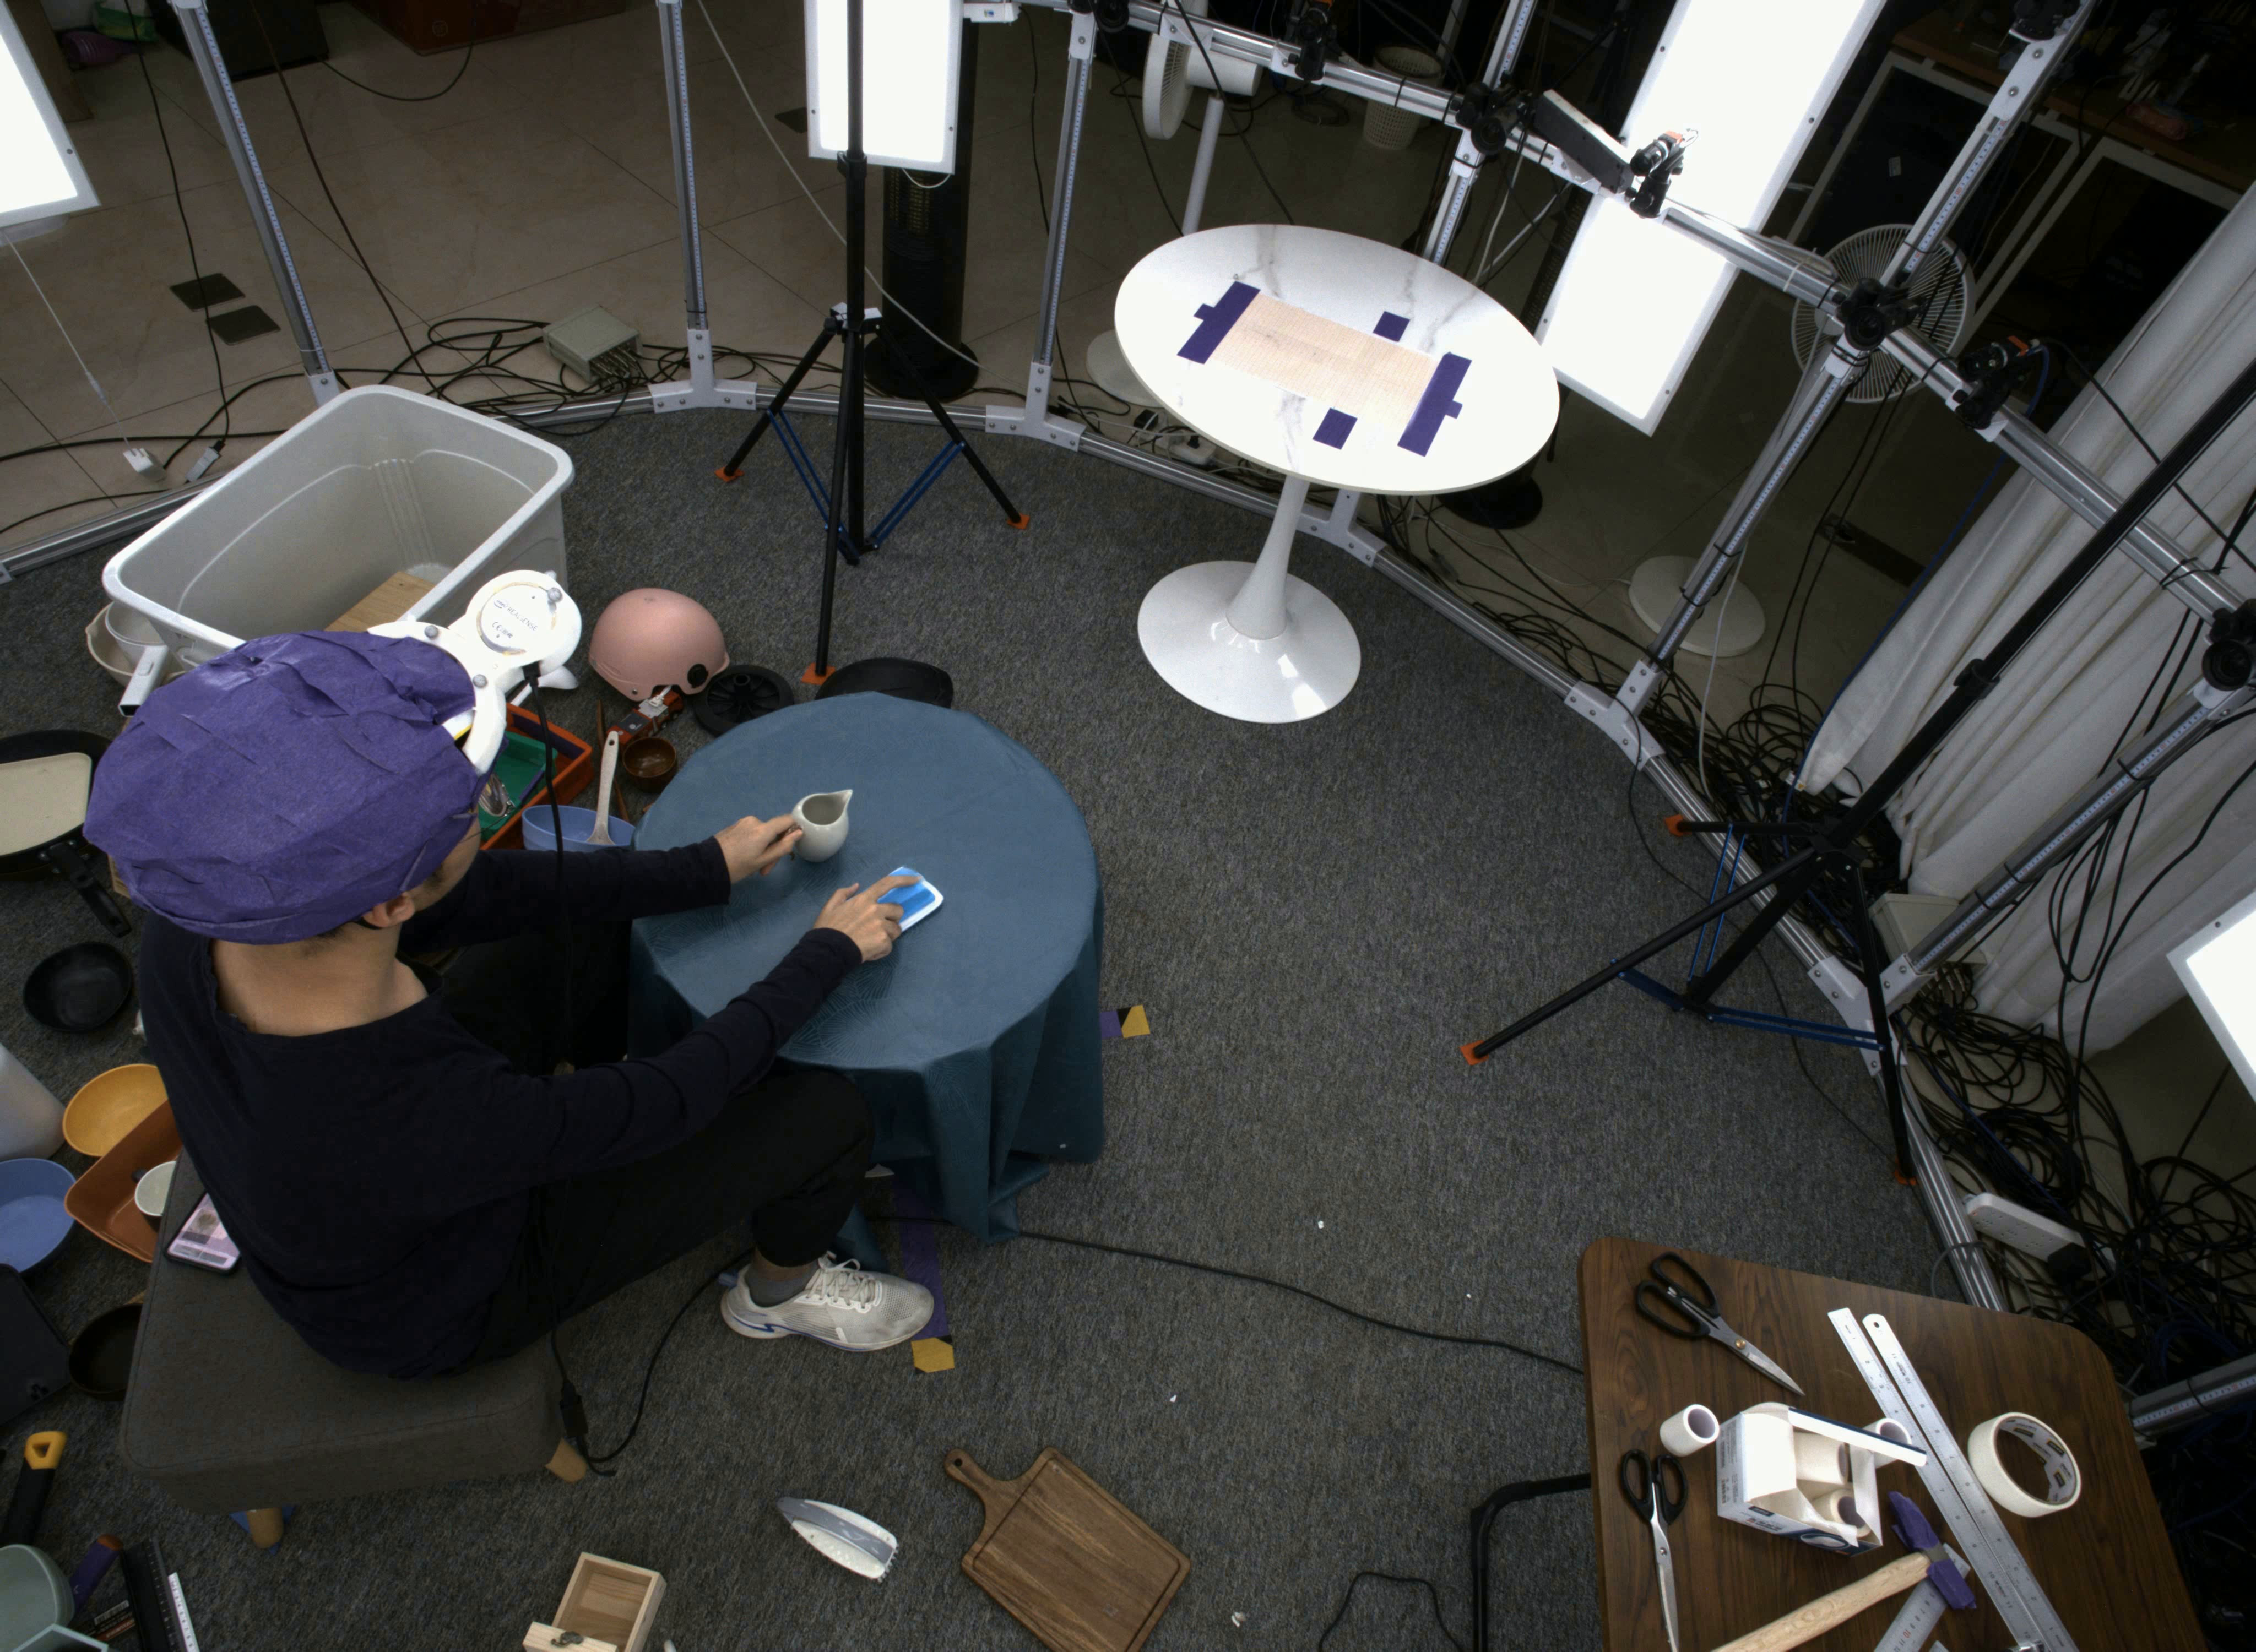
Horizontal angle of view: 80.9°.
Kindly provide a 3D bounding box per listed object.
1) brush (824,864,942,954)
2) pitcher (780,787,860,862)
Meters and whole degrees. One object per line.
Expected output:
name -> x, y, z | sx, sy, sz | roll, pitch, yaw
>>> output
brush -> -0.309, 0.096, 1.643 | 0.144, 0.057, 0.081 | -32, 62, -34
pitcher -> -0.399, 0.001, 1.671 | 0.074, 0.089, 0.120 | 43, 44, 21
